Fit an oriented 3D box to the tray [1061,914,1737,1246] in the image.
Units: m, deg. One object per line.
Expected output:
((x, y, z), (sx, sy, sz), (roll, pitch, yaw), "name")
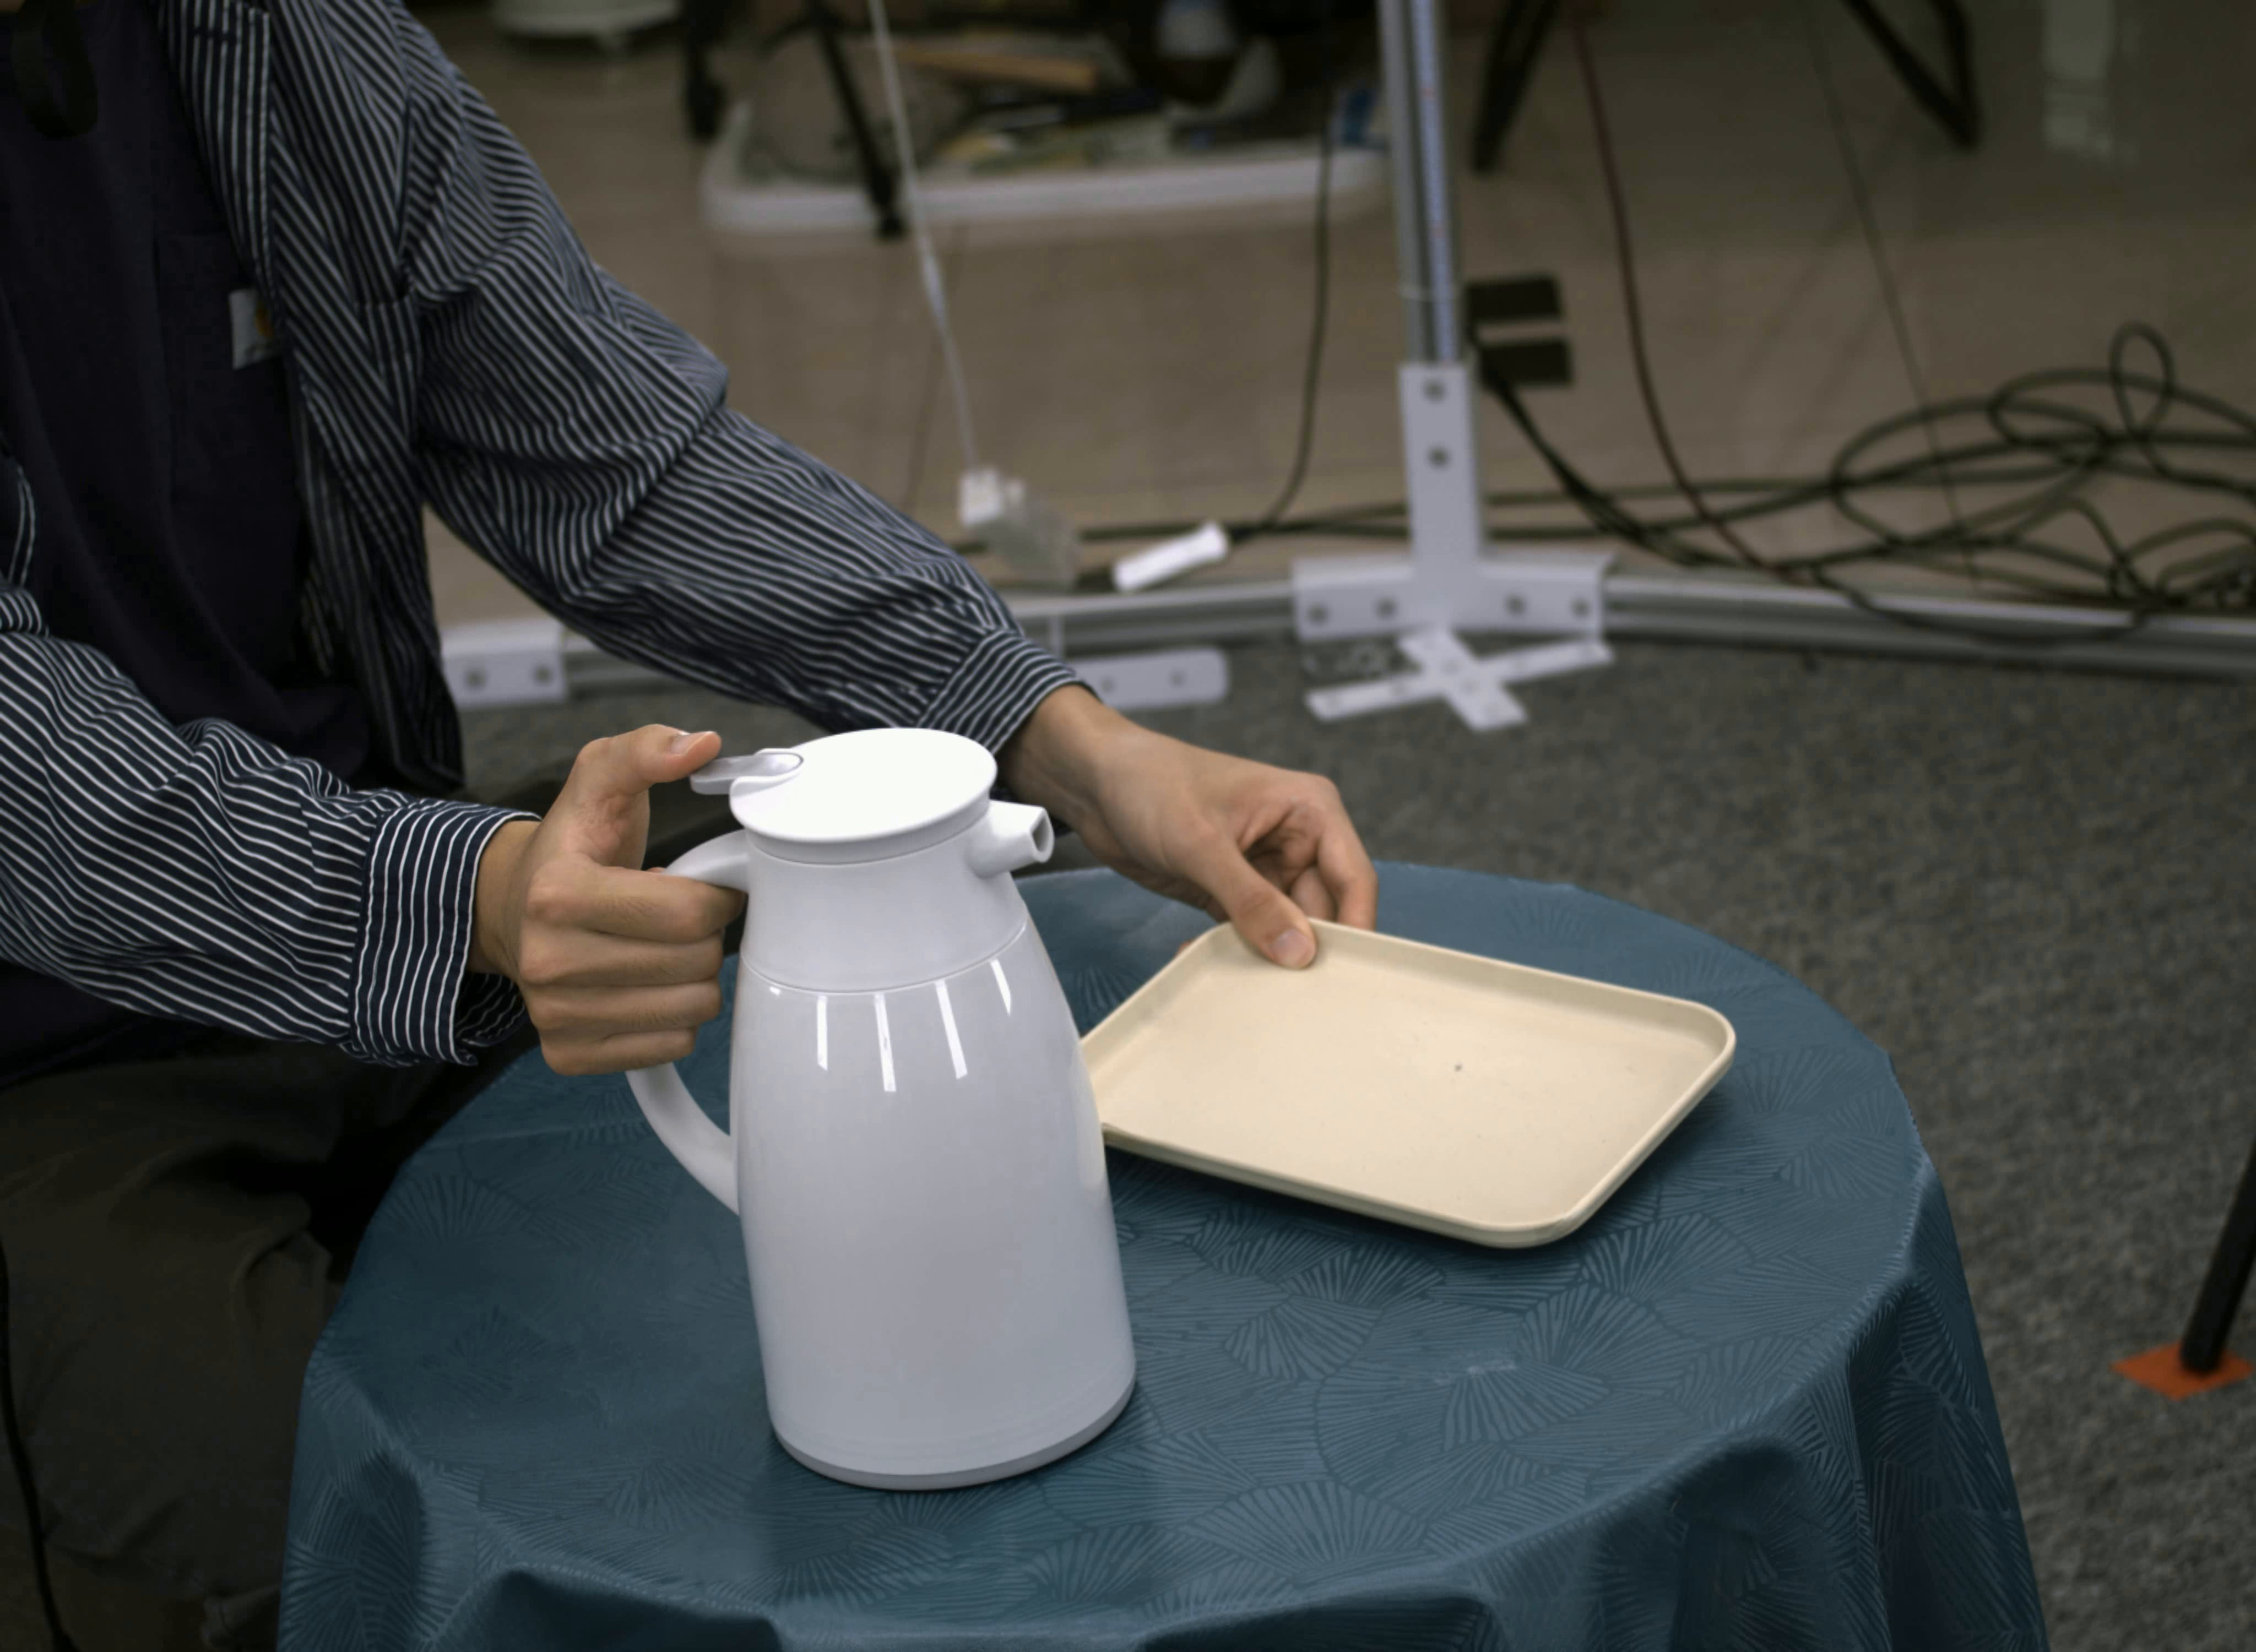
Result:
((0.099, 0.097, 2.170), (0.238, 0.018, 0.169), (13, 34, 31), "tray")

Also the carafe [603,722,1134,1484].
((-0.096, 0.090, 1.976), (0.167, 0.252, 0.130), (-2, 26, 13), "carafe")
